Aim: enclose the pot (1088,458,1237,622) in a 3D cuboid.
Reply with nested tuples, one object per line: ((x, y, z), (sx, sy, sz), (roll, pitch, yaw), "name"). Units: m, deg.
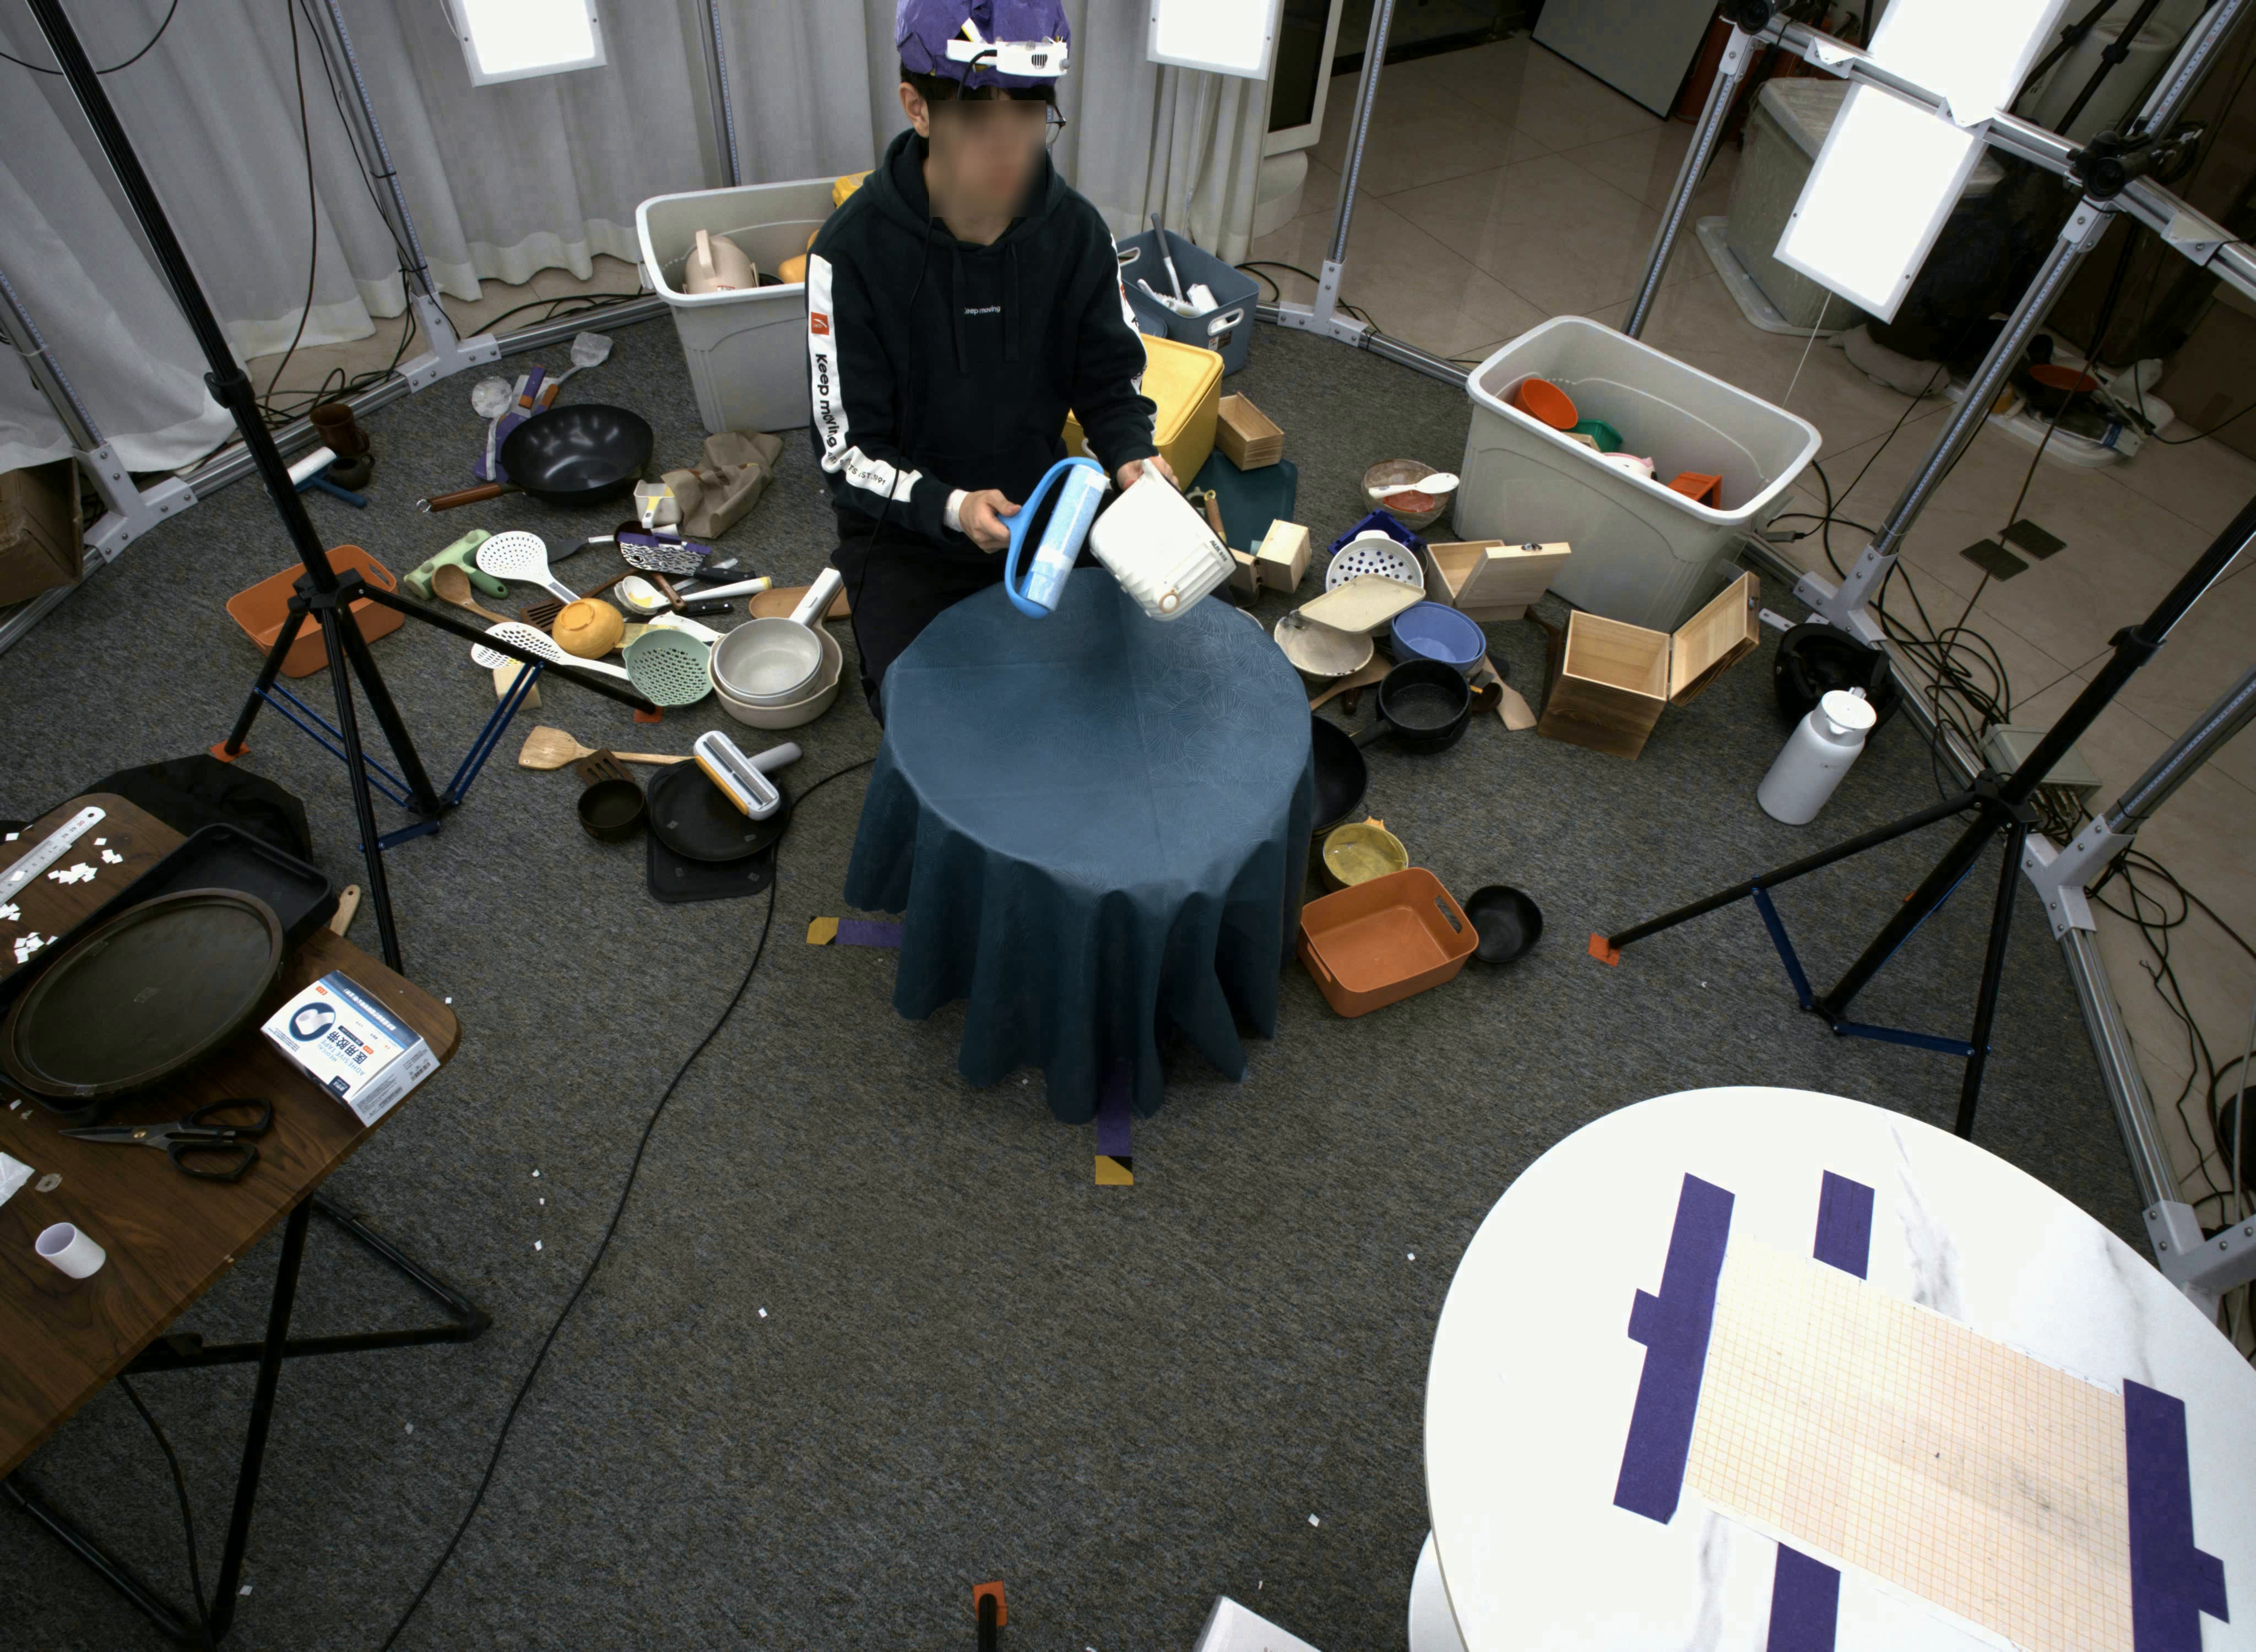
((0.042, -0.372, 1.758), (0.142, 0.235, 0.194), (-45, 44, 3), "pot")

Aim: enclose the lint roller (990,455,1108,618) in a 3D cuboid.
((-0.134, -0.404, 1.768), (0.182, 0.067, 0.229), (17, 86, 32), "lint roller")
